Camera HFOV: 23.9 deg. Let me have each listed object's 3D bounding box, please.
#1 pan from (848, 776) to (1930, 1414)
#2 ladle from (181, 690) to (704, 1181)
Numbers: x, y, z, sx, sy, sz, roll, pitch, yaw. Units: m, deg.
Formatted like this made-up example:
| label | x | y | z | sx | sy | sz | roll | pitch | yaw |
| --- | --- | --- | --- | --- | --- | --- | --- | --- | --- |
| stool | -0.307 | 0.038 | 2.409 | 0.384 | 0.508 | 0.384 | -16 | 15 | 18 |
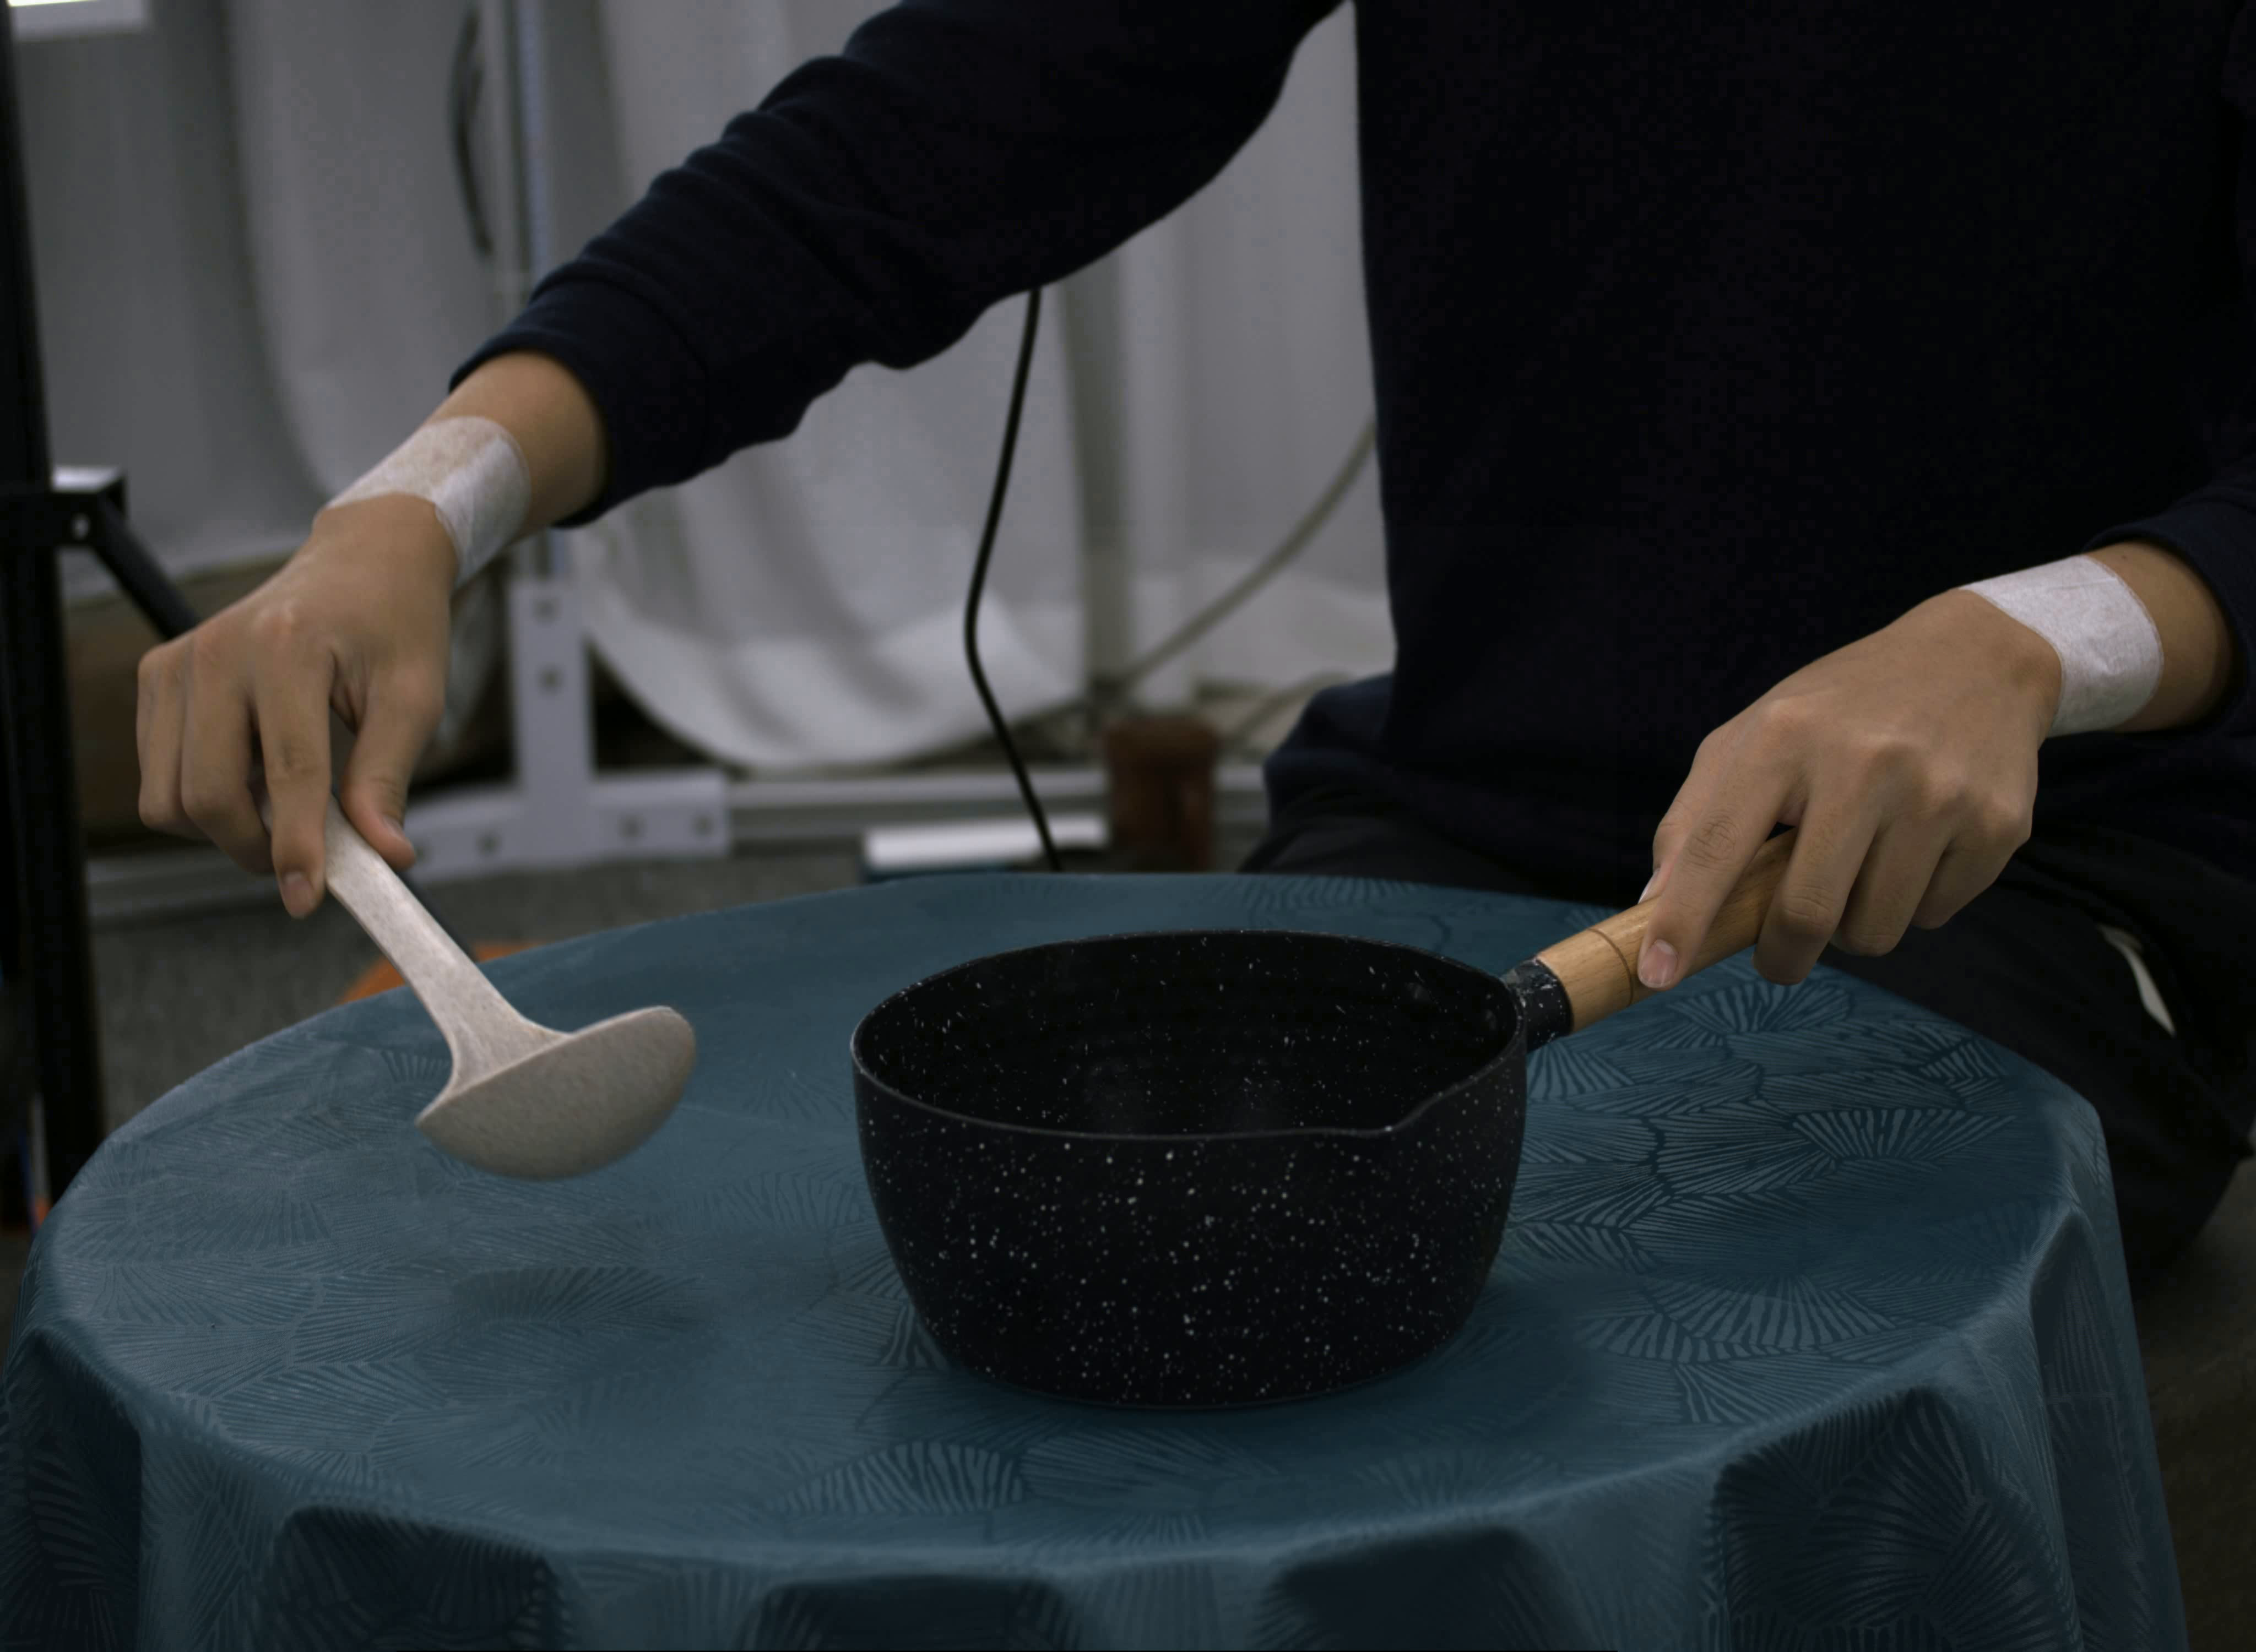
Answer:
| label | x | y | z | sx | sy | sz | roll | pitch | yaw |
| --- | --- | --- | --- | --- | --- | --- | --- | --- | --- |
| pan | 0.085 | 0.069 | 1.482 | 0.335 | 0.108 | 0.212 | -13 | 17 | -28 |
| ladle | -0.218 | 0.010 | 1.571 | 0.088 | 0.069 | 0.281 | -24 | 44 | -22 |
